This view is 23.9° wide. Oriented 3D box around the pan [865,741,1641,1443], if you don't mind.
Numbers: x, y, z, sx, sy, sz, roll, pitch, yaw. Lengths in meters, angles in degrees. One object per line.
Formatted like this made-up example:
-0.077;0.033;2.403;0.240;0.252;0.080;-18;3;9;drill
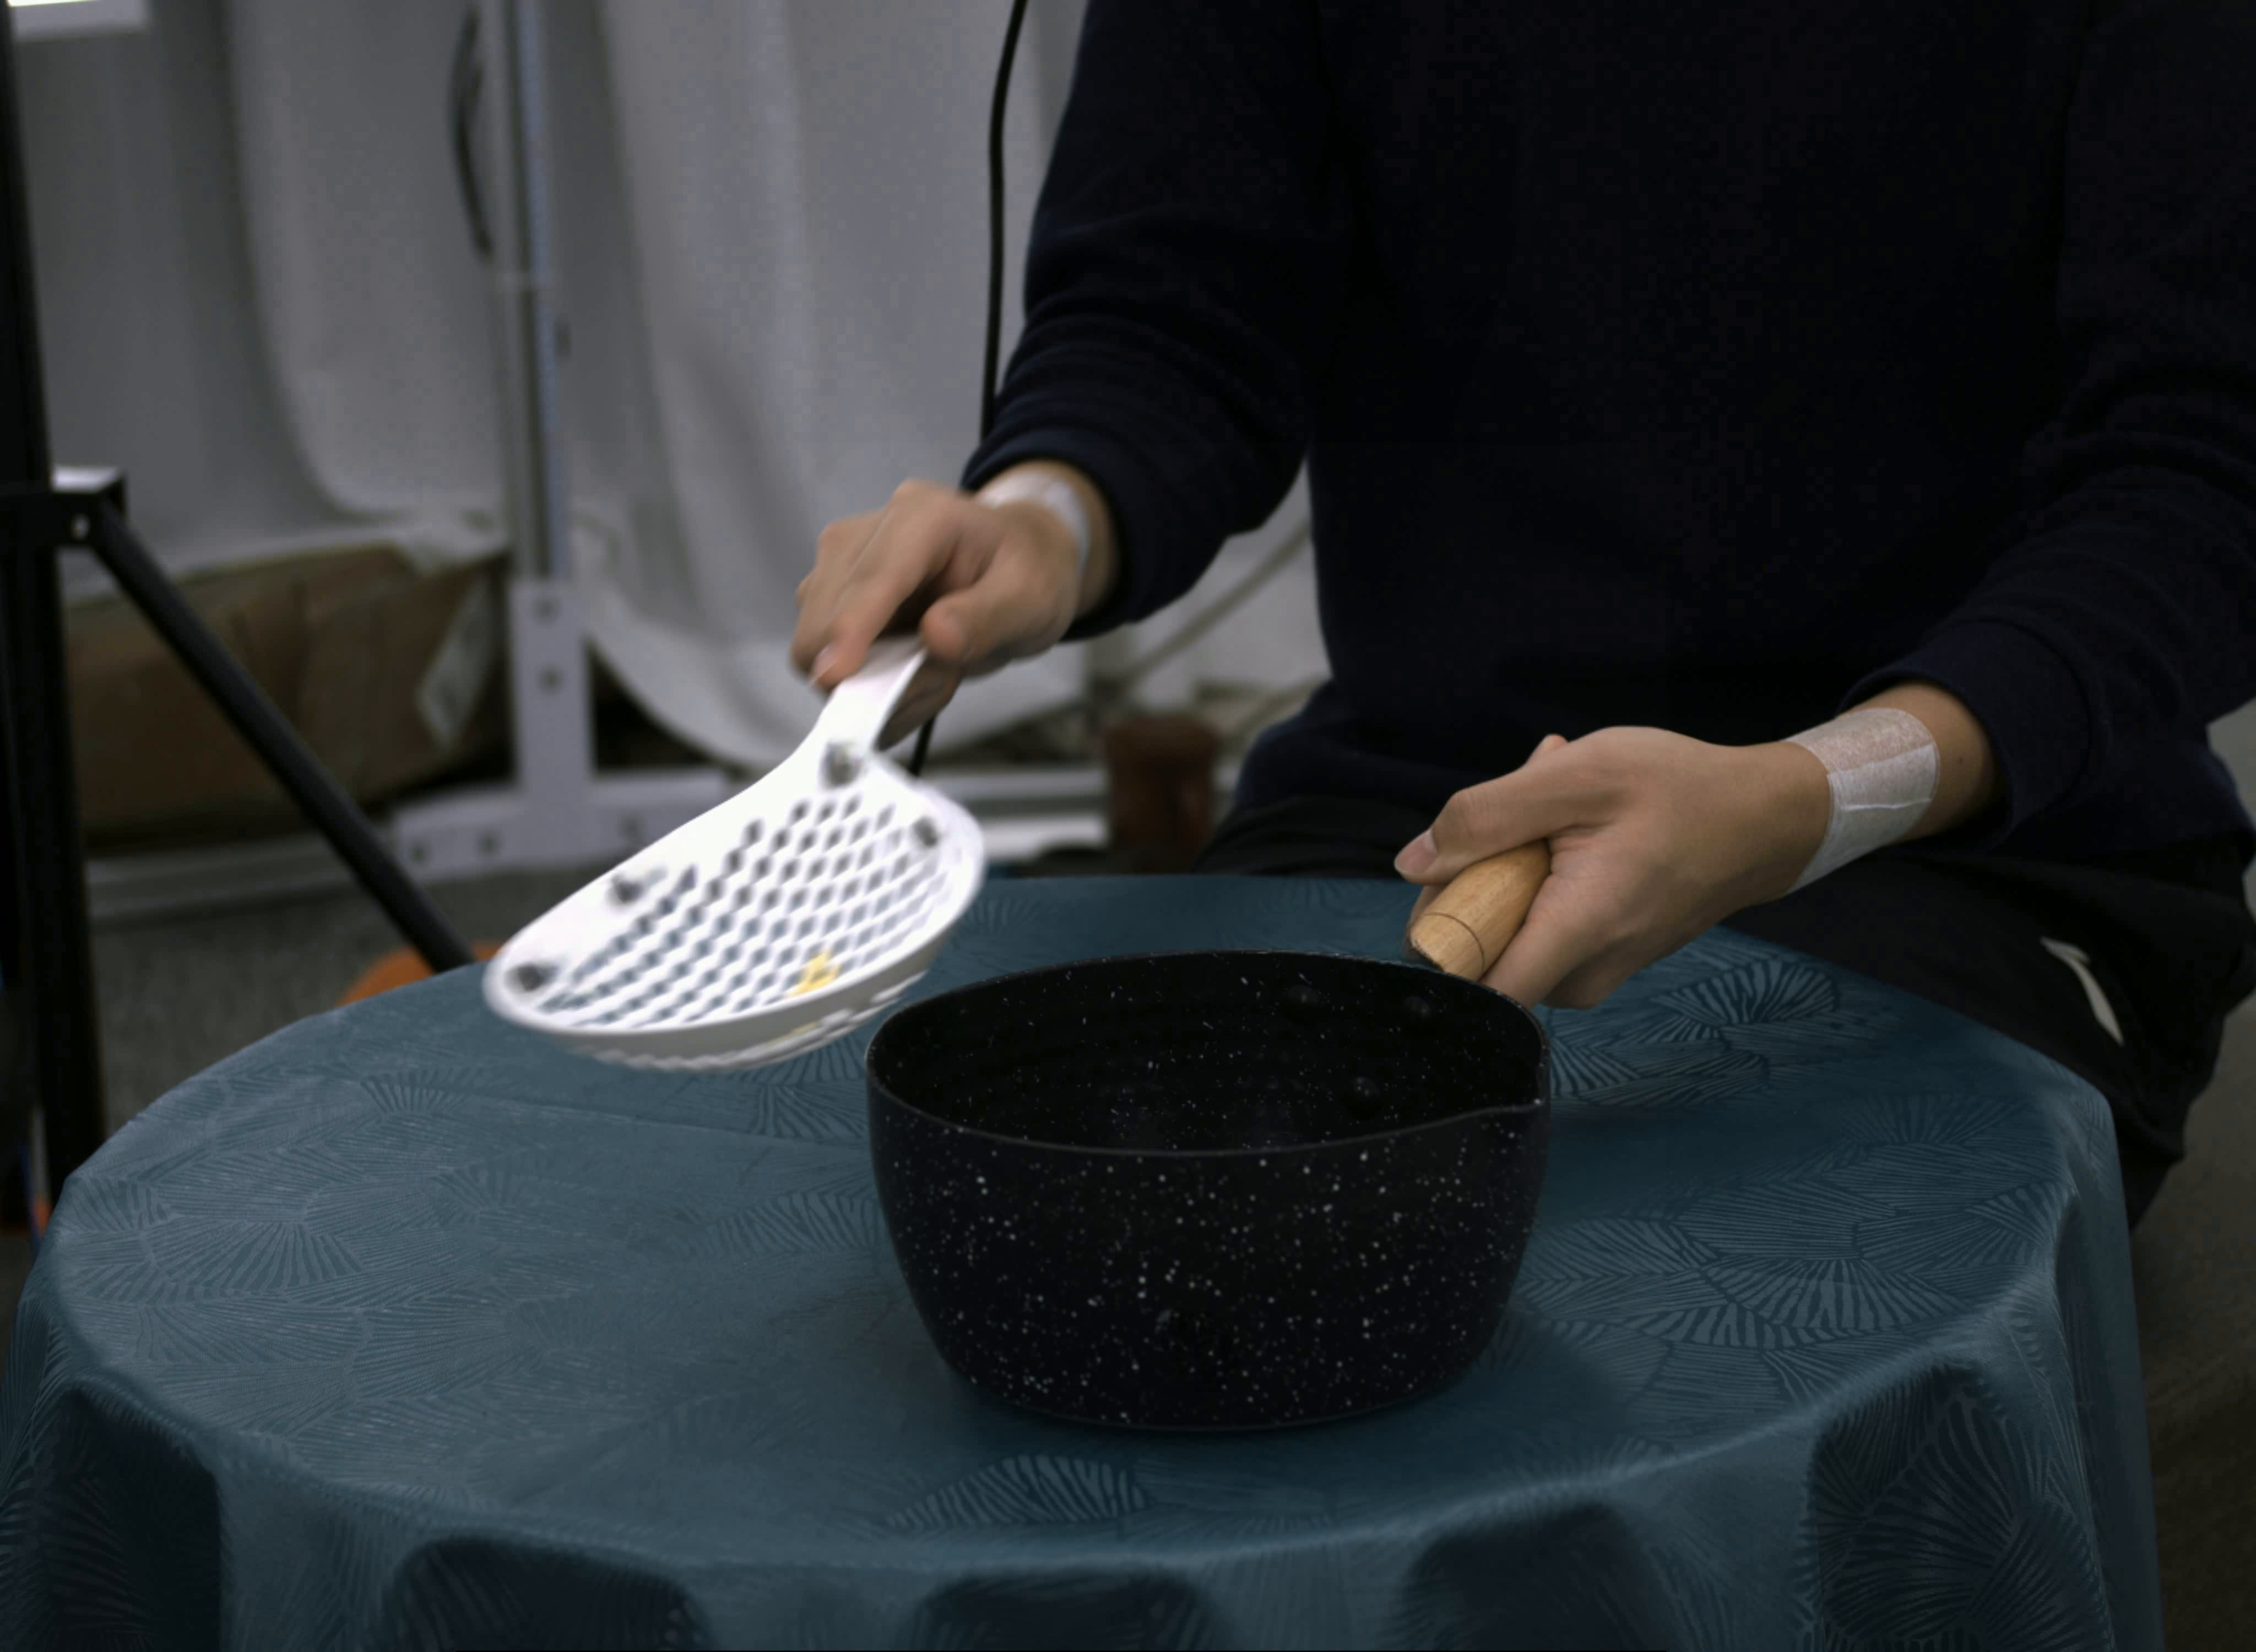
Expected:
0.061;0.069;1.489;0.211;0.108;0.337;5;18;30;pan

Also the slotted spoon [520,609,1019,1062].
-0.079;-0.012;1.524;0.137;0.050;0.348;-12;25;12;slotted spoon
